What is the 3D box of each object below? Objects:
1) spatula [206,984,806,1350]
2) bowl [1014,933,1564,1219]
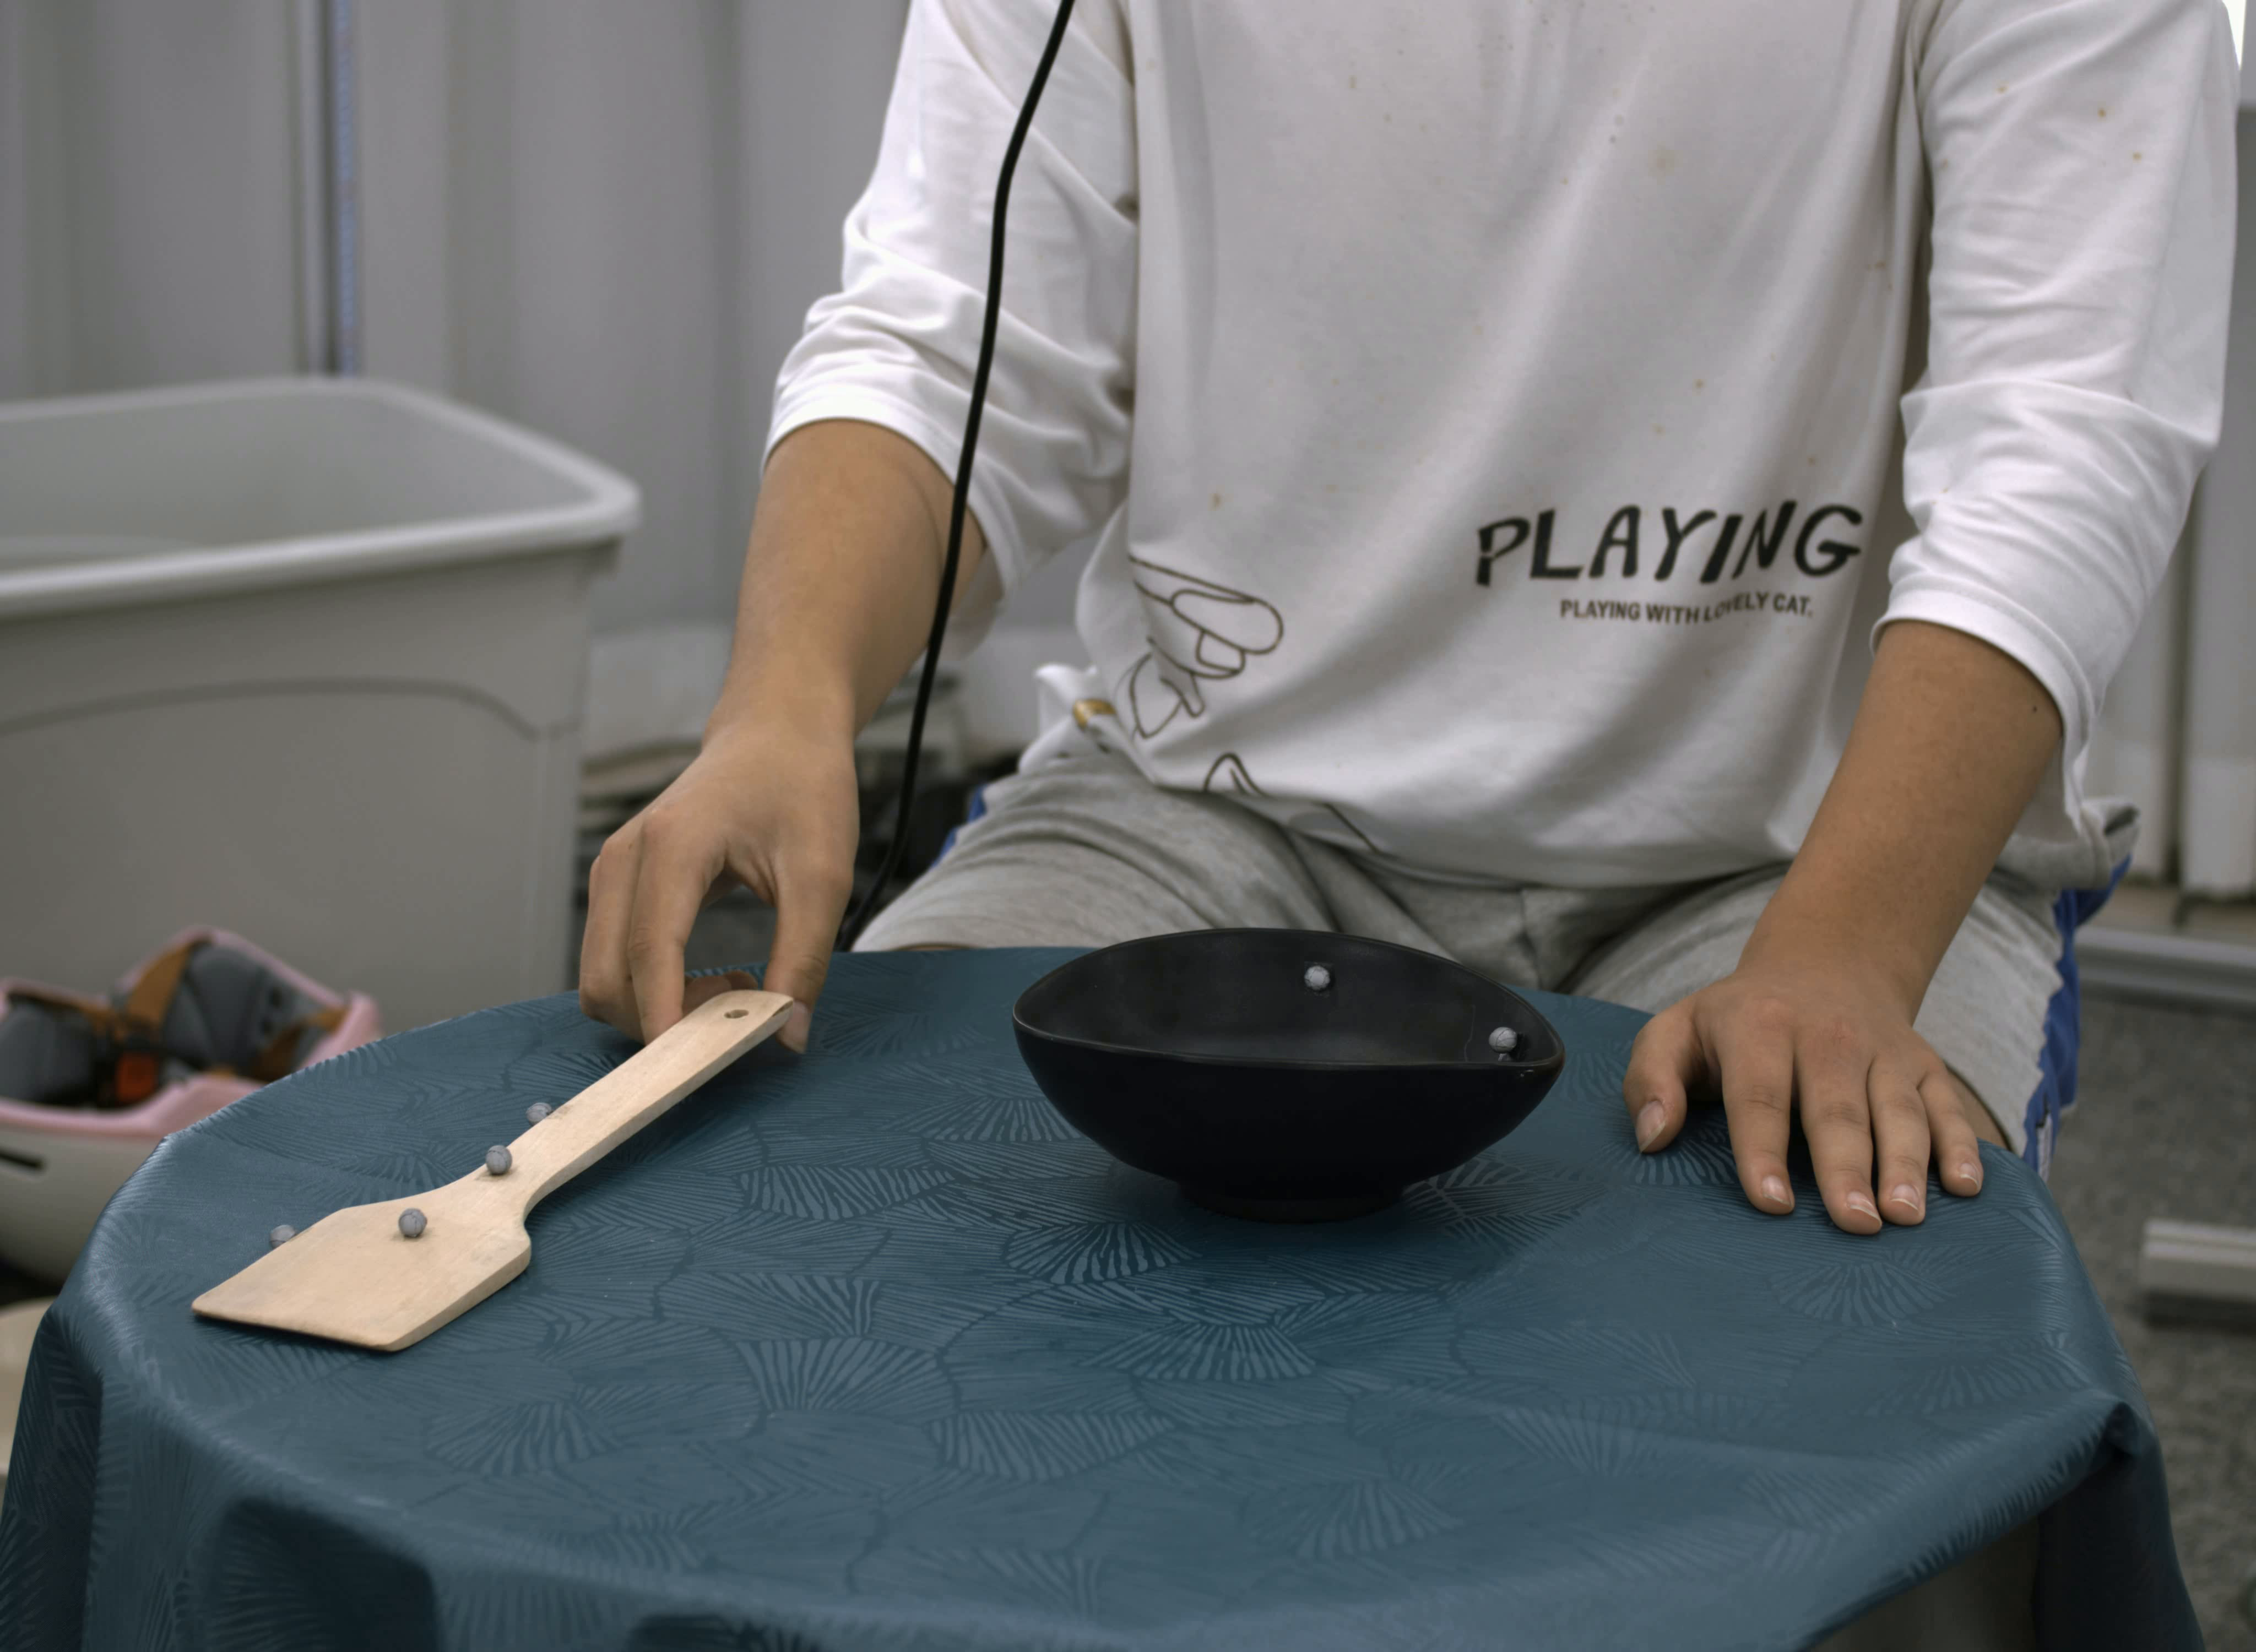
[{"bbox_3d":[-0.177,0.100,1.621,0.071,0.011,0.293,8,21,23],"label":"spatula"},{"bbox_3d":[0.049,0.081,1.627,0.170,0.067,0.136,3,15,0],"label":"bowl"}]
